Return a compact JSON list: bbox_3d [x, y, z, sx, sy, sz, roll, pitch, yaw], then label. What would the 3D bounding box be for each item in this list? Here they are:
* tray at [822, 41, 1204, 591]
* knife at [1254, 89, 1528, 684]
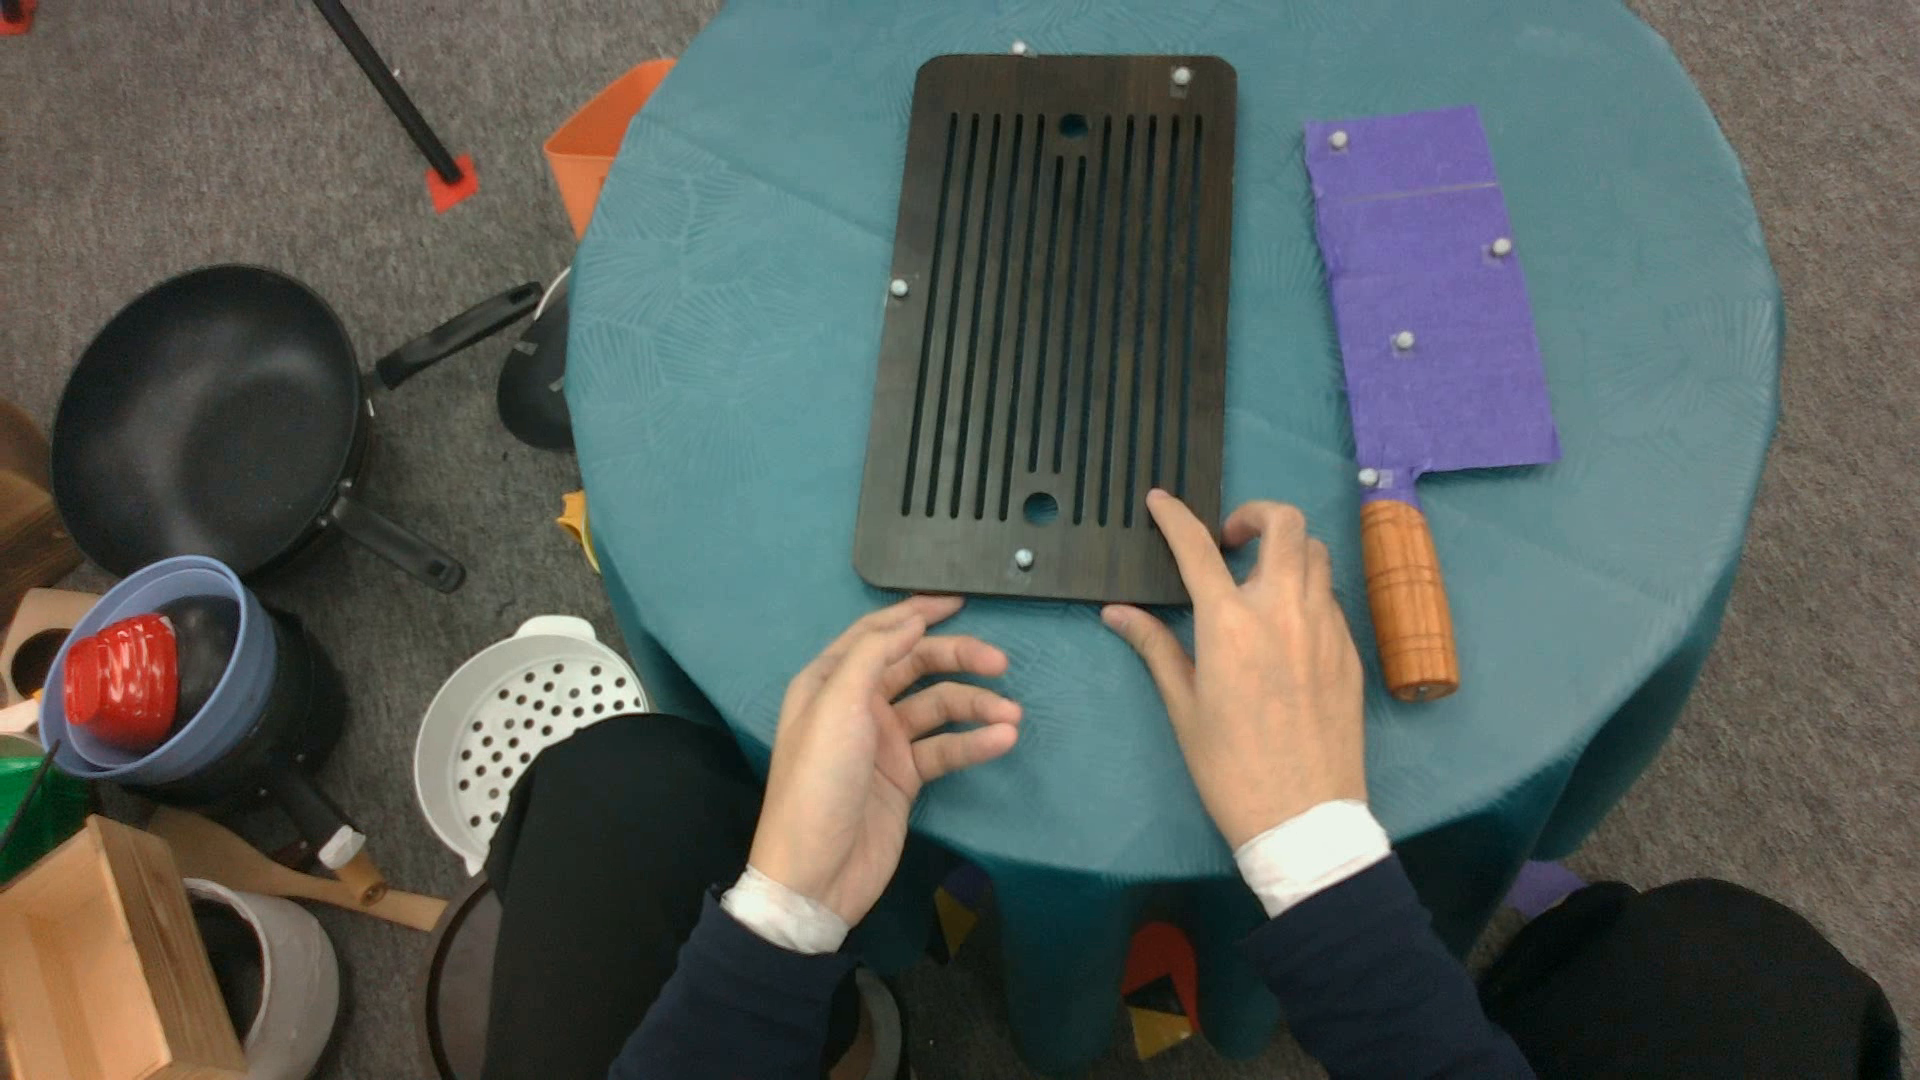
[{"bbox_3d":[0.032,-0.121,0.687,0.170,0.018,0.307,3,69,7],"label":"tray"},{"bbox_3d":[0.213,-0.089,0.651,0.104,0.032,0.316,-5,67,4],"label":"knife"}]
